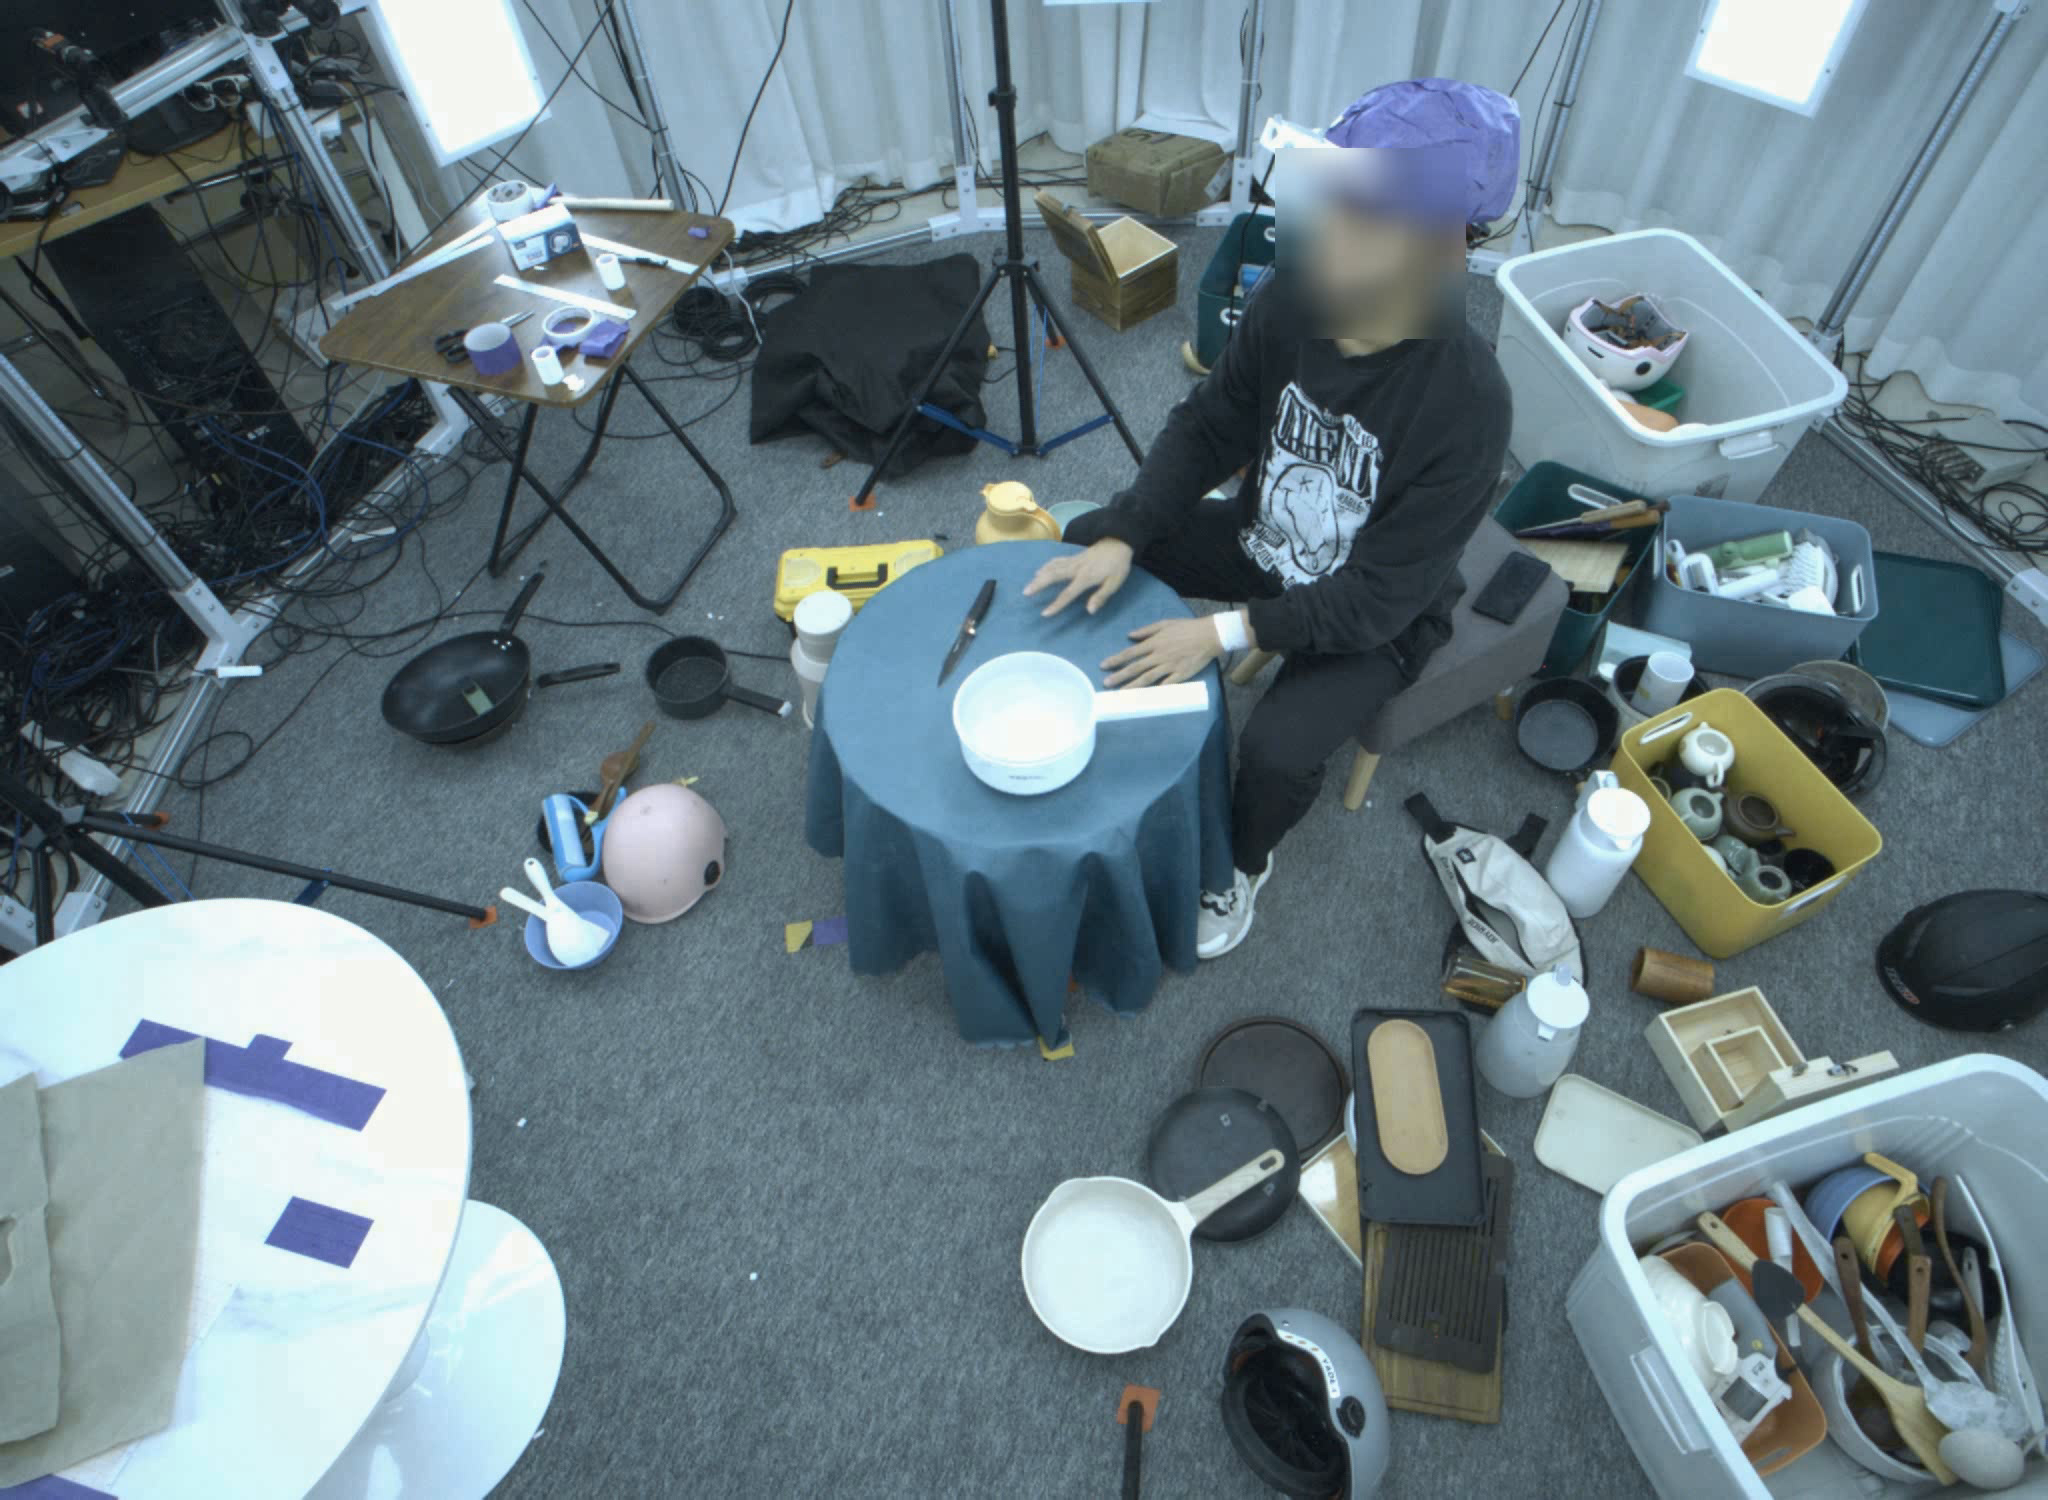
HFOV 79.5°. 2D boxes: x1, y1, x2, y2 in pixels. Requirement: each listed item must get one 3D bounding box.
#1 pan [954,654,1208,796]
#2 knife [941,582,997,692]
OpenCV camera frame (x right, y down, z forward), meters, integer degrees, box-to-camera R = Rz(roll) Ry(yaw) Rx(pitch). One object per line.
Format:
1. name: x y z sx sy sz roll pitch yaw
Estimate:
1. pan: 0.081 -0.038 1.750 0.356 0.103 0.198 -5 52 -3
2. knife: -0.090 -0.179 1.908 0.026 0.017 0.225 22 59 3
